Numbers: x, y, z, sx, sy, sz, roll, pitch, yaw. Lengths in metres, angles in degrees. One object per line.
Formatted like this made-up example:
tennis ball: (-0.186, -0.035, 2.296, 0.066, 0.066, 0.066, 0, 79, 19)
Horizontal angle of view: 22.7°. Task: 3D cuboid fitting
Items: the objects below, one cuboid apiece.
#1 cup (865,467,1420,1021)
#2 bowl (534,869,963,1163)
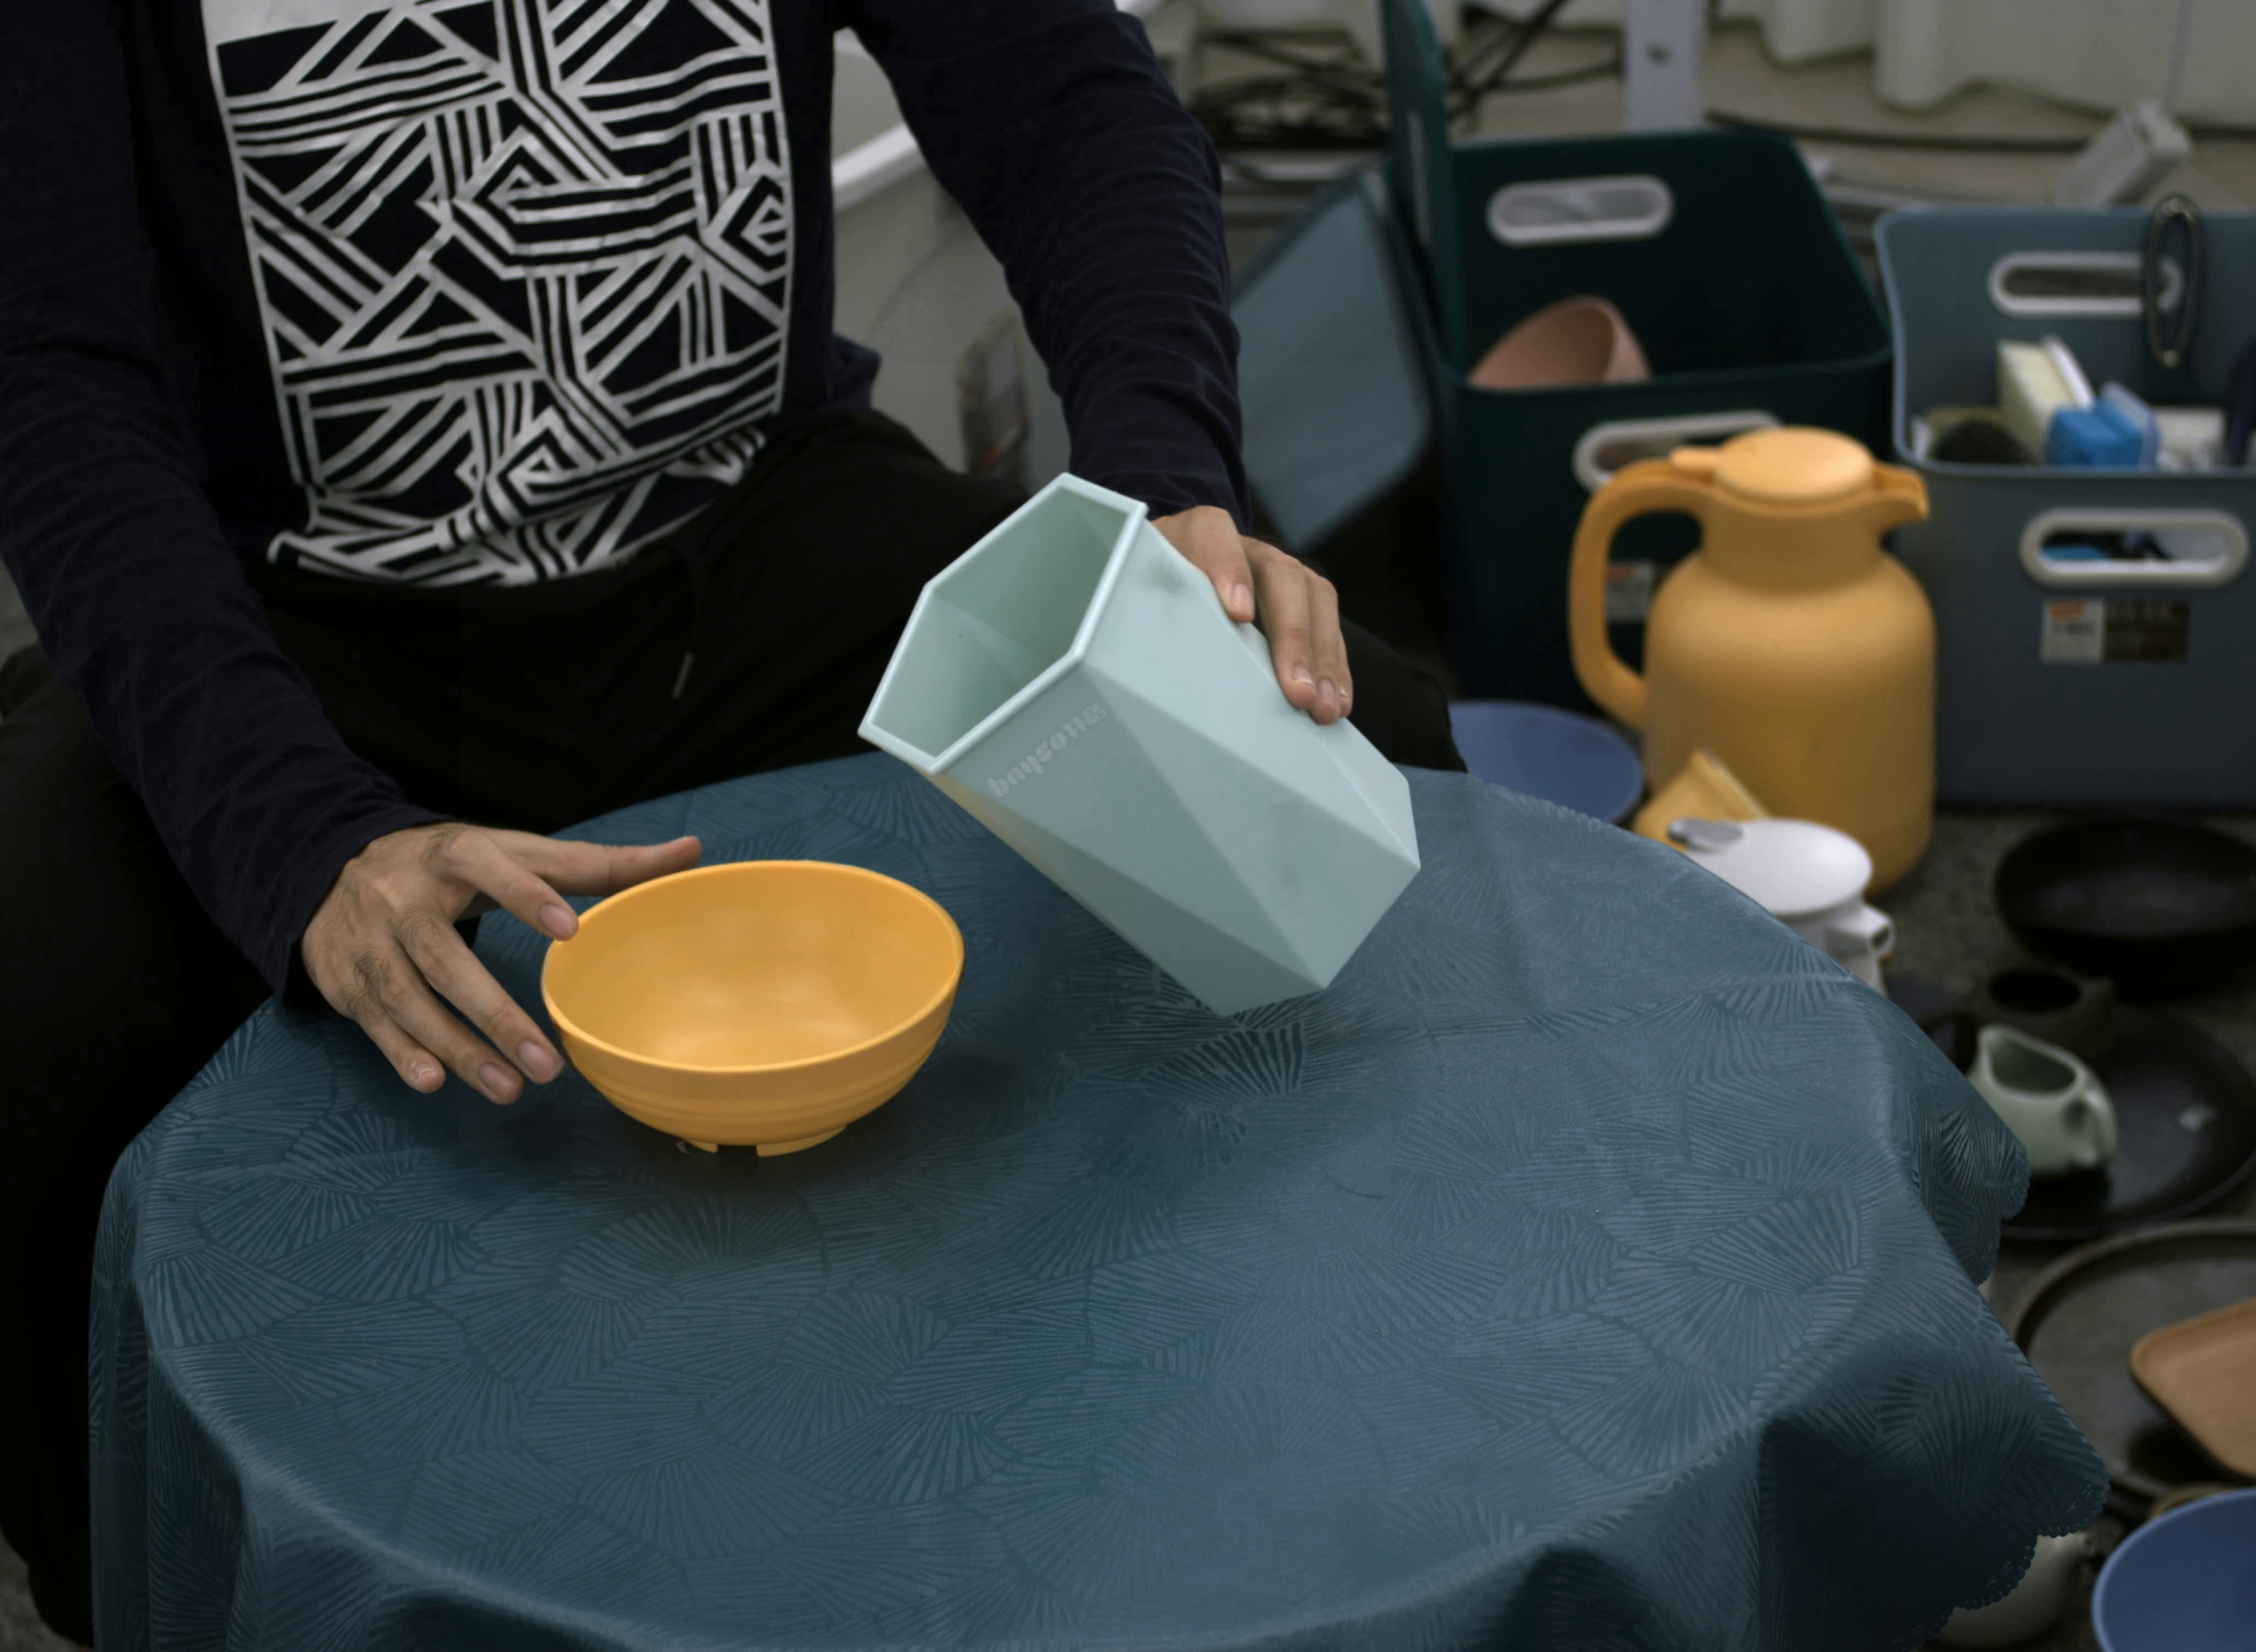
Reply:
cup: (0.012, -0.022, 1.900, 0.129, 0.162, 0.117, -38, 26, 18)
bowl: (-0.127, 0.073, 1.905, 0.144, 0.059, 0.147, -2, 26, 1)
